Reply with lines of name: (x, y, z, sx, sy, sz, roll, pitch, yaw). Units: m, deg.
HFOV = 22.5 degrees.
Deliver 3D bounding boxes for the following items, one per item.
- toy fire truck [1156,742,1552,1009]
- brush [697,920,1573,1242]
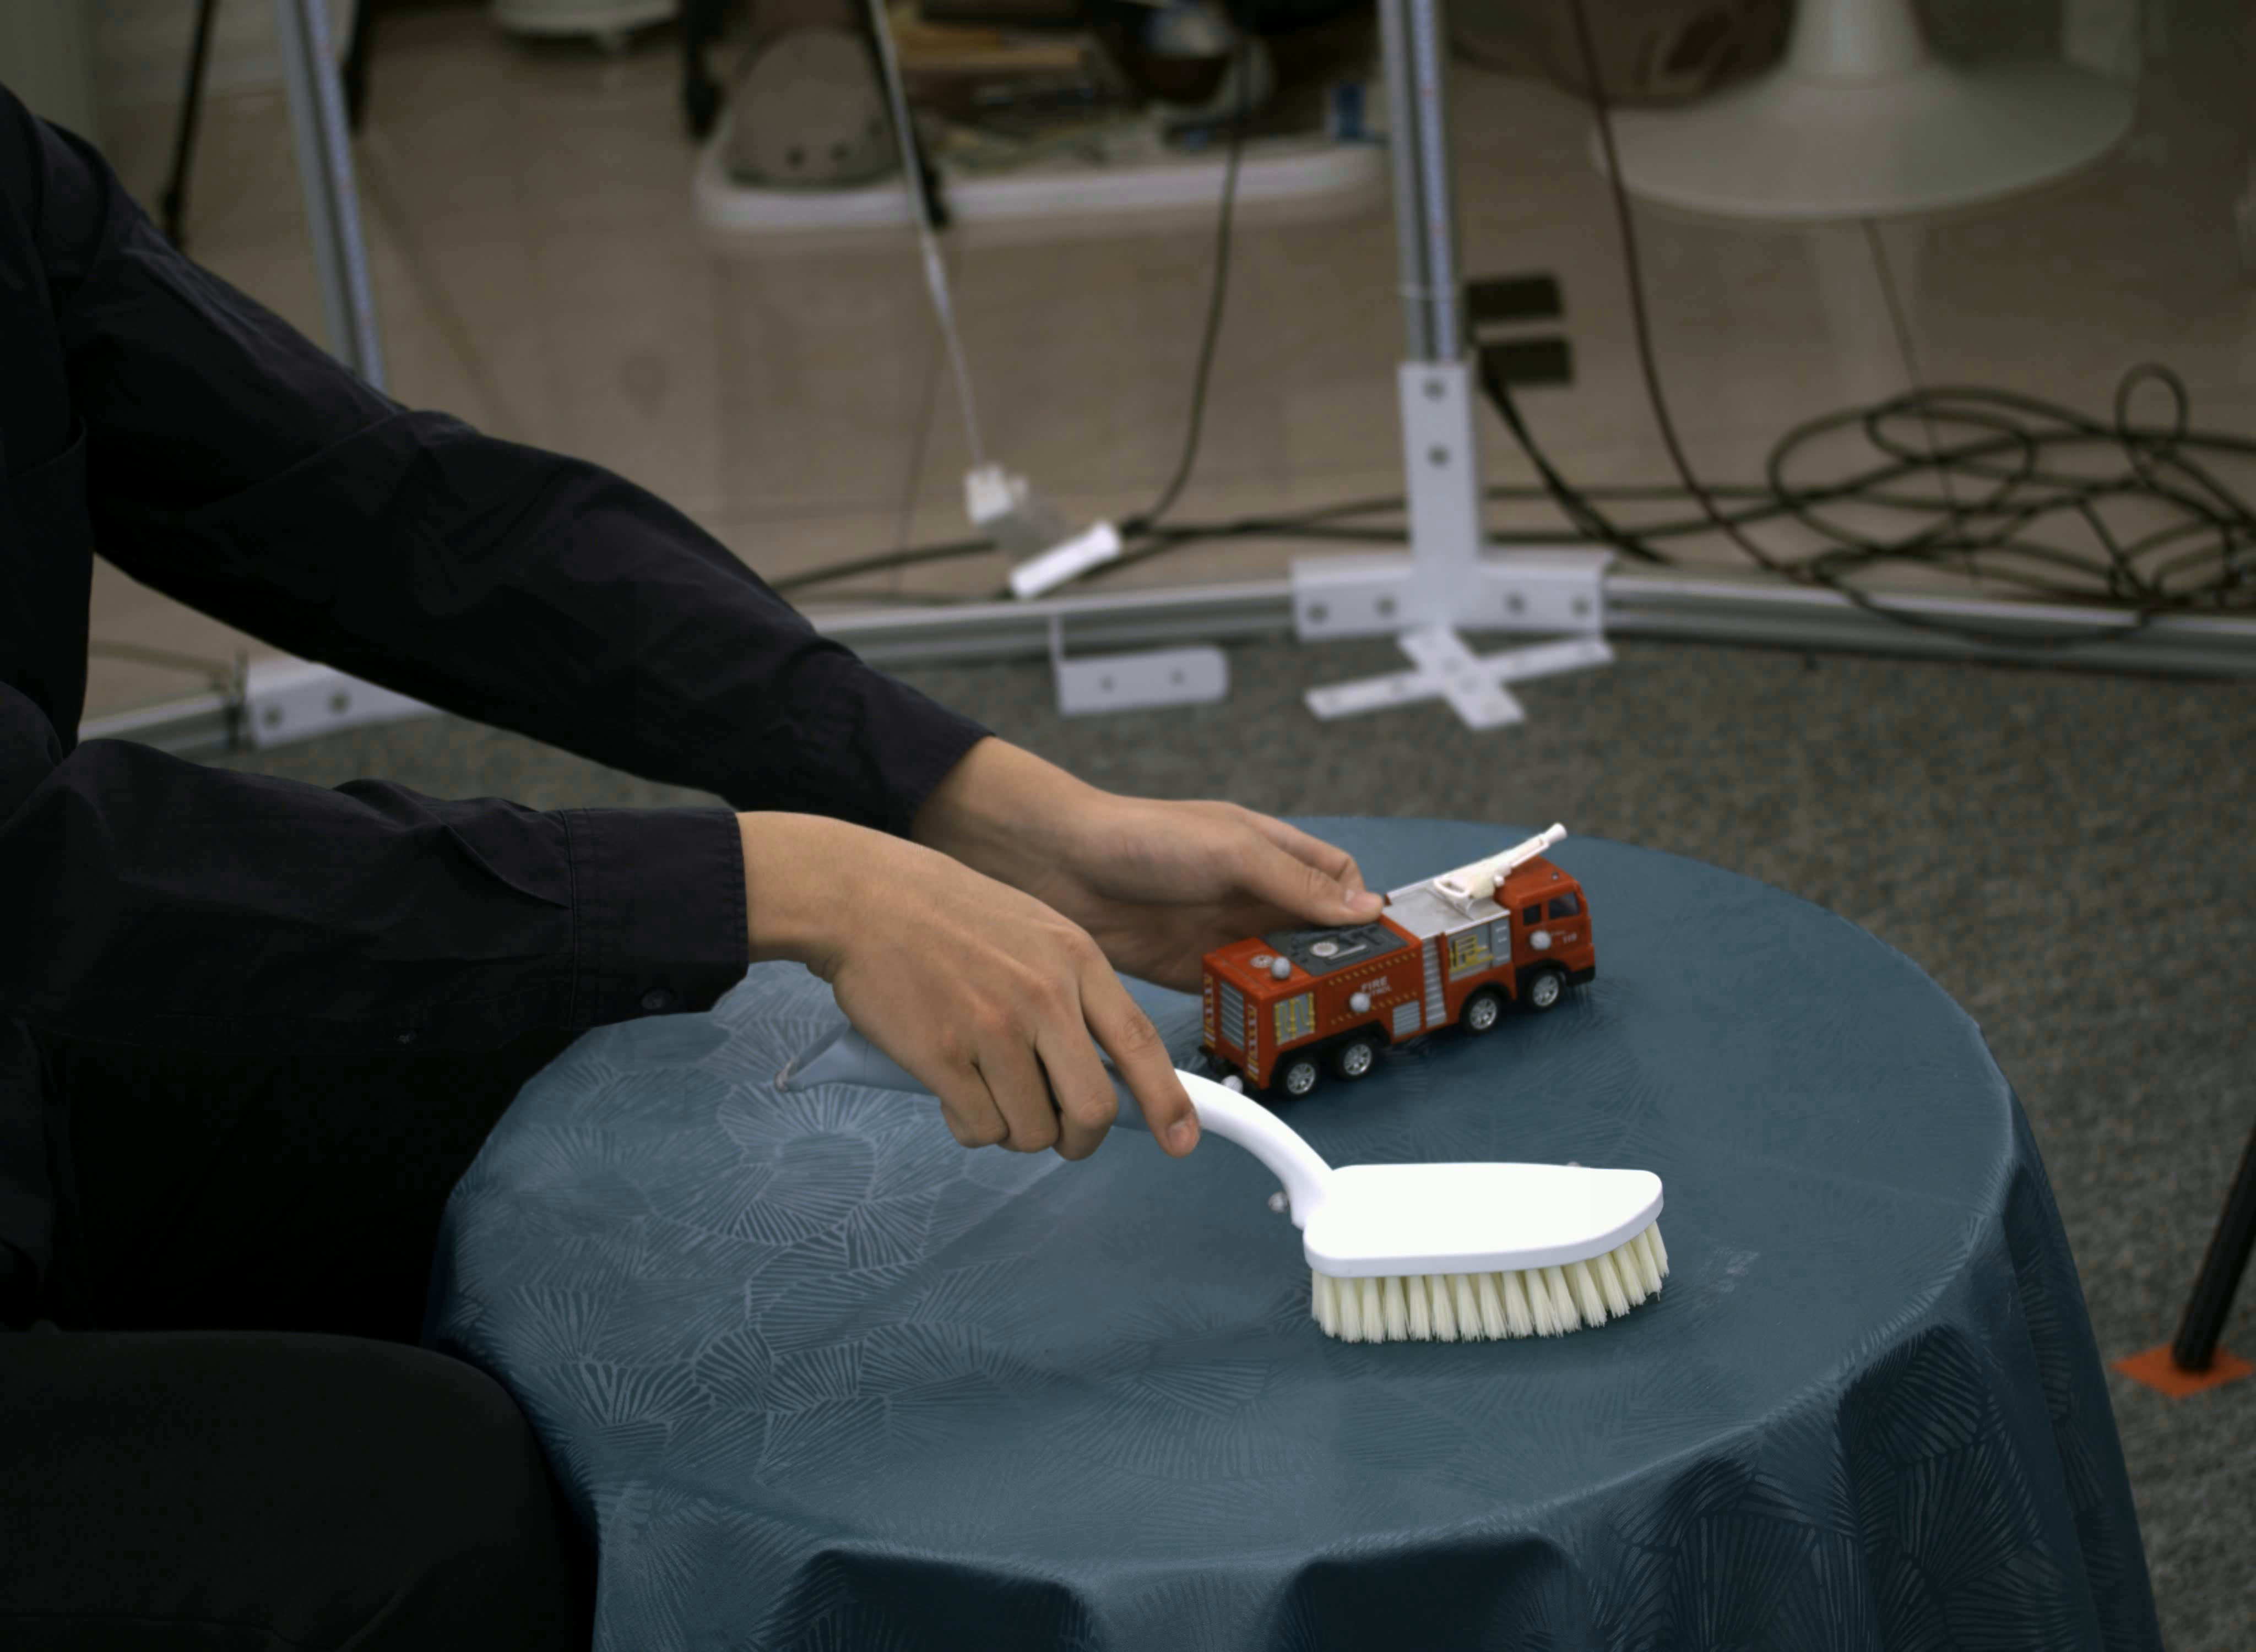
toy fire truck: (0.092, 0.022, 2.248, 0.167, 0.071, 0.053, -20, 32, -25)
brush: (0.001, 0.102, 2.071, 0.325, 0.084, 0.083, 9, -9, 2)
